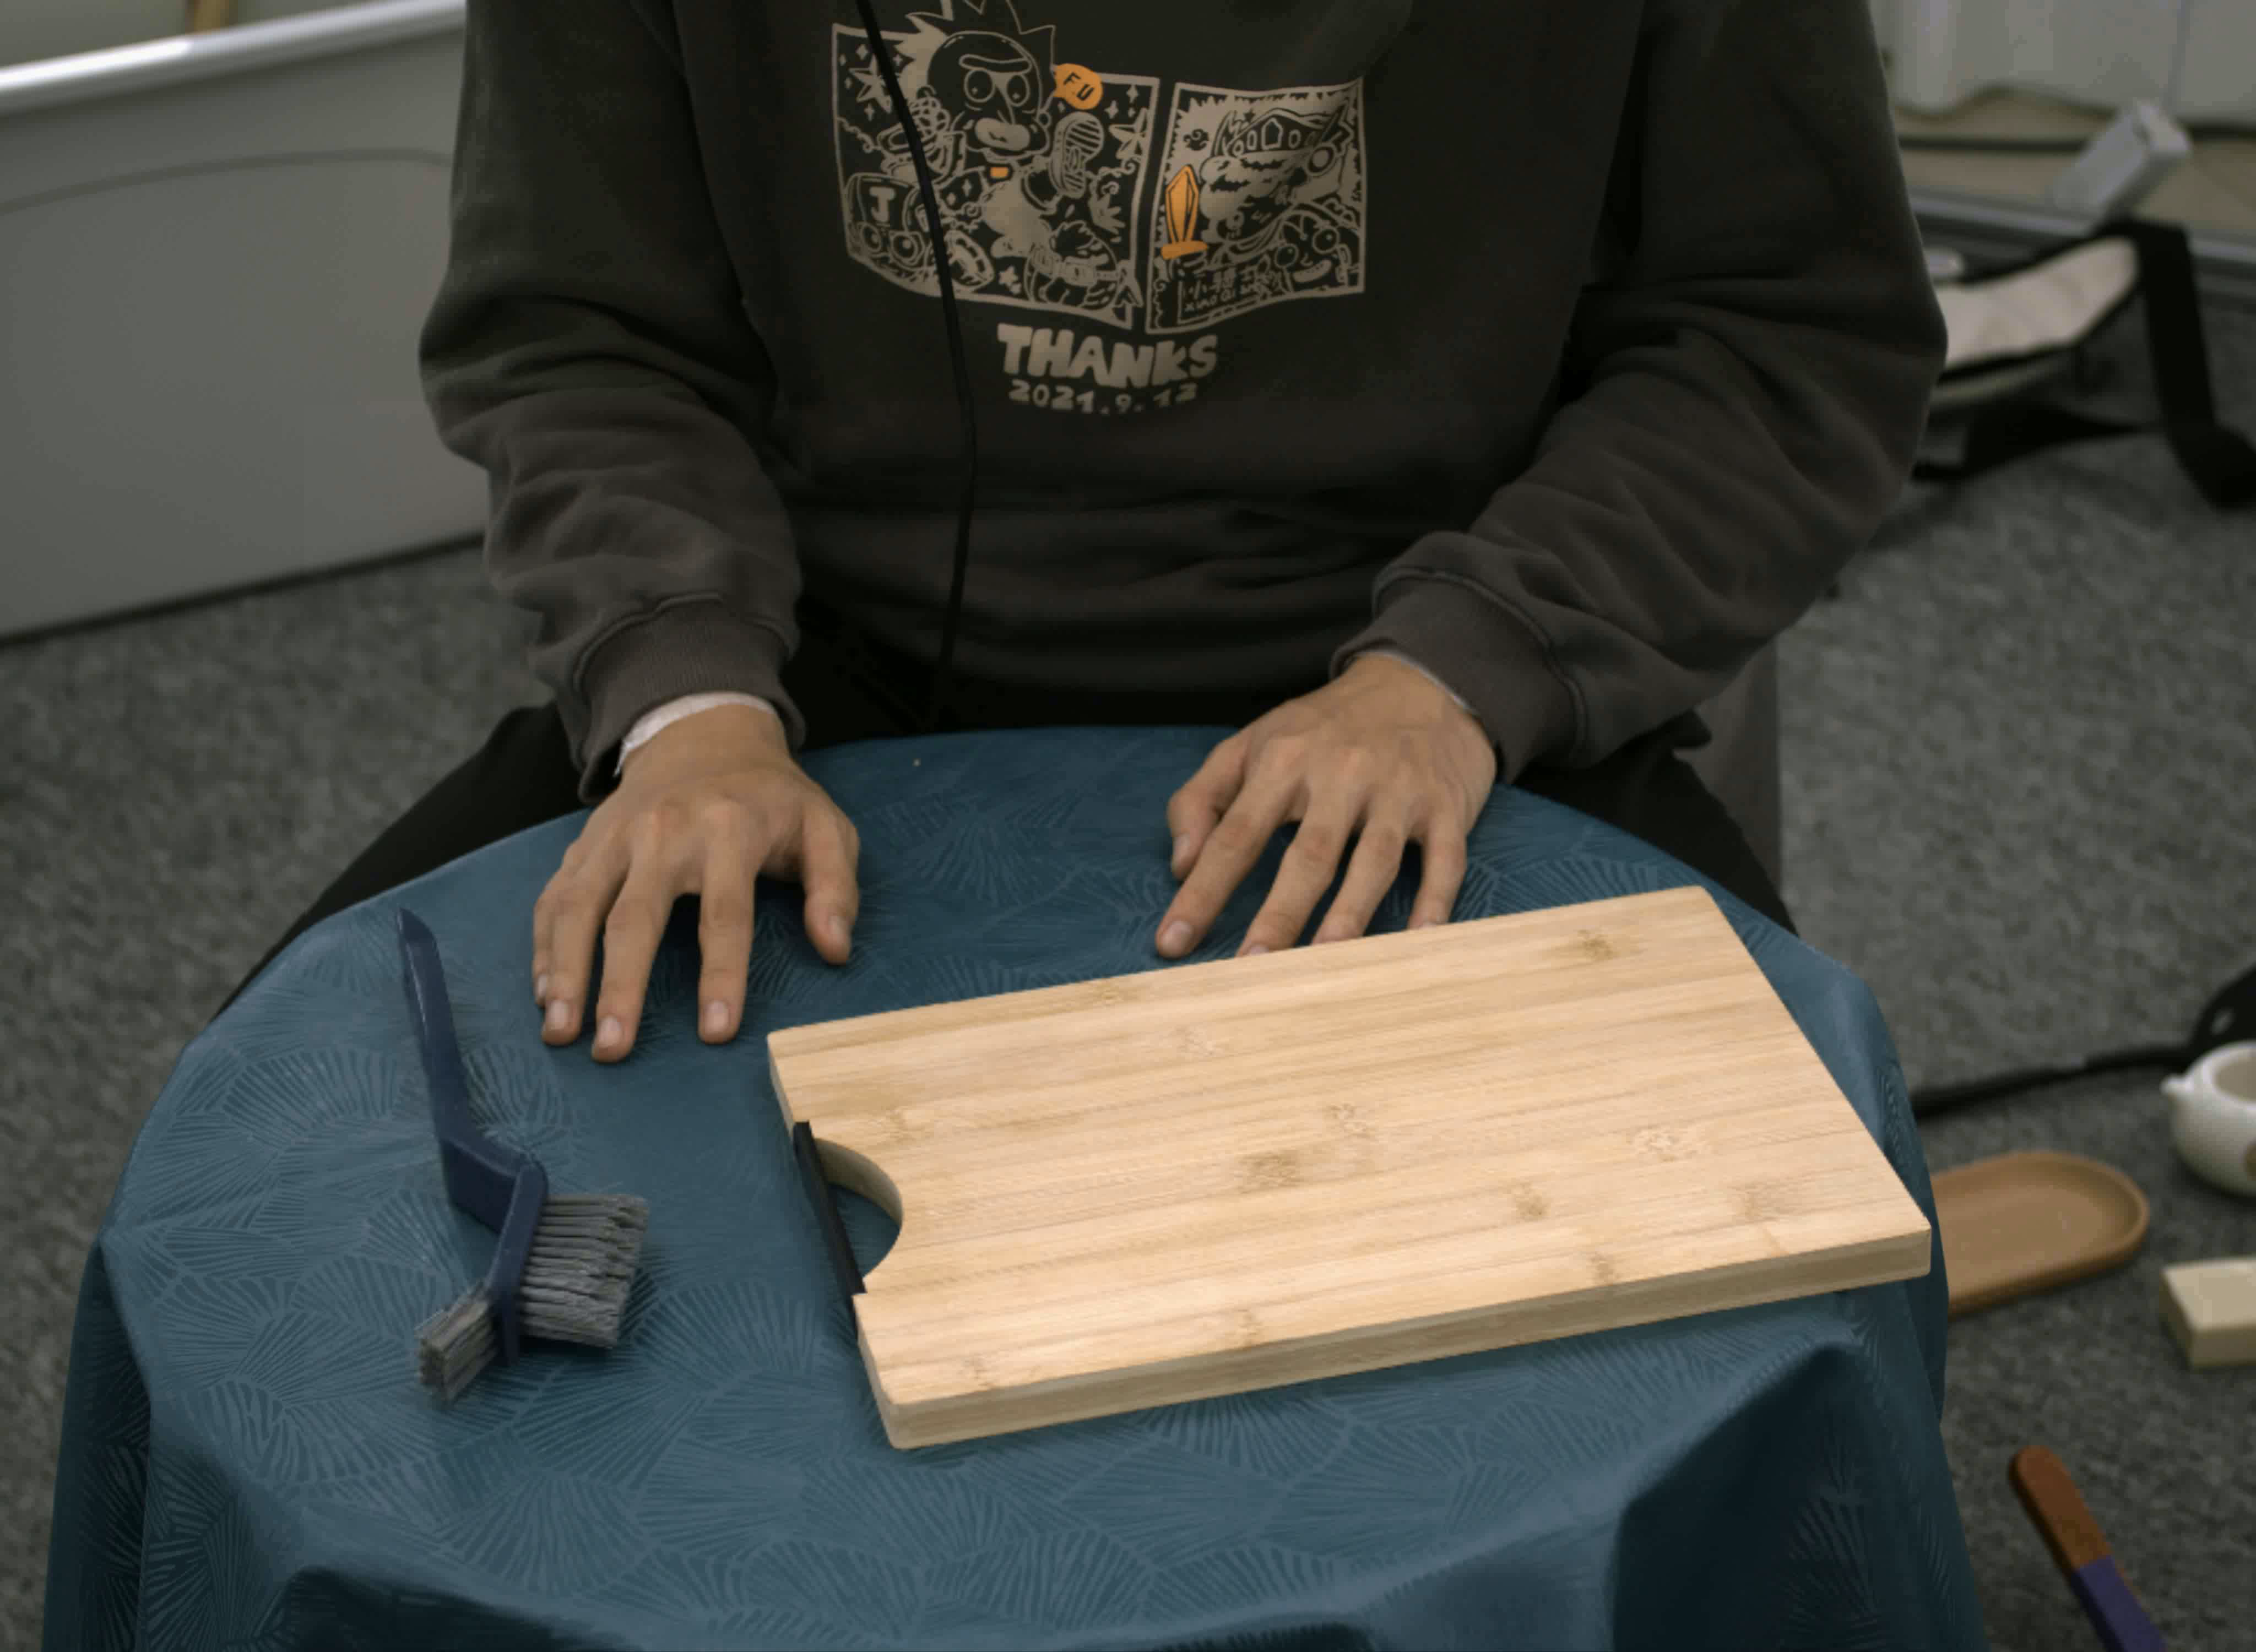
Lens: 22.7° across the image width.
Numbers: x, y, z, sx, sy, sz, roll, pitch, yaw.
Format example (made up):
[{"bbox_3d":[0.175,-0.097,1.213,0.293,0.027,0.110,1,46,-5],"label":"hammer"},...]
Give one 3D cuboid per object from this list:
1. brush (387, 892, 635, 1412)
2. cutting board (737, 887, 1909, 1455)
[{"bbox_3d":[-0.231,0.104,1.883,0.096,0.033,0.275,-12,30,-16],"label":"brush"},{"bbox_3d":[0.060,0.109,1.861,0.348,0.023,0.253,-9,28,-11],"label":"cutting board"}]
